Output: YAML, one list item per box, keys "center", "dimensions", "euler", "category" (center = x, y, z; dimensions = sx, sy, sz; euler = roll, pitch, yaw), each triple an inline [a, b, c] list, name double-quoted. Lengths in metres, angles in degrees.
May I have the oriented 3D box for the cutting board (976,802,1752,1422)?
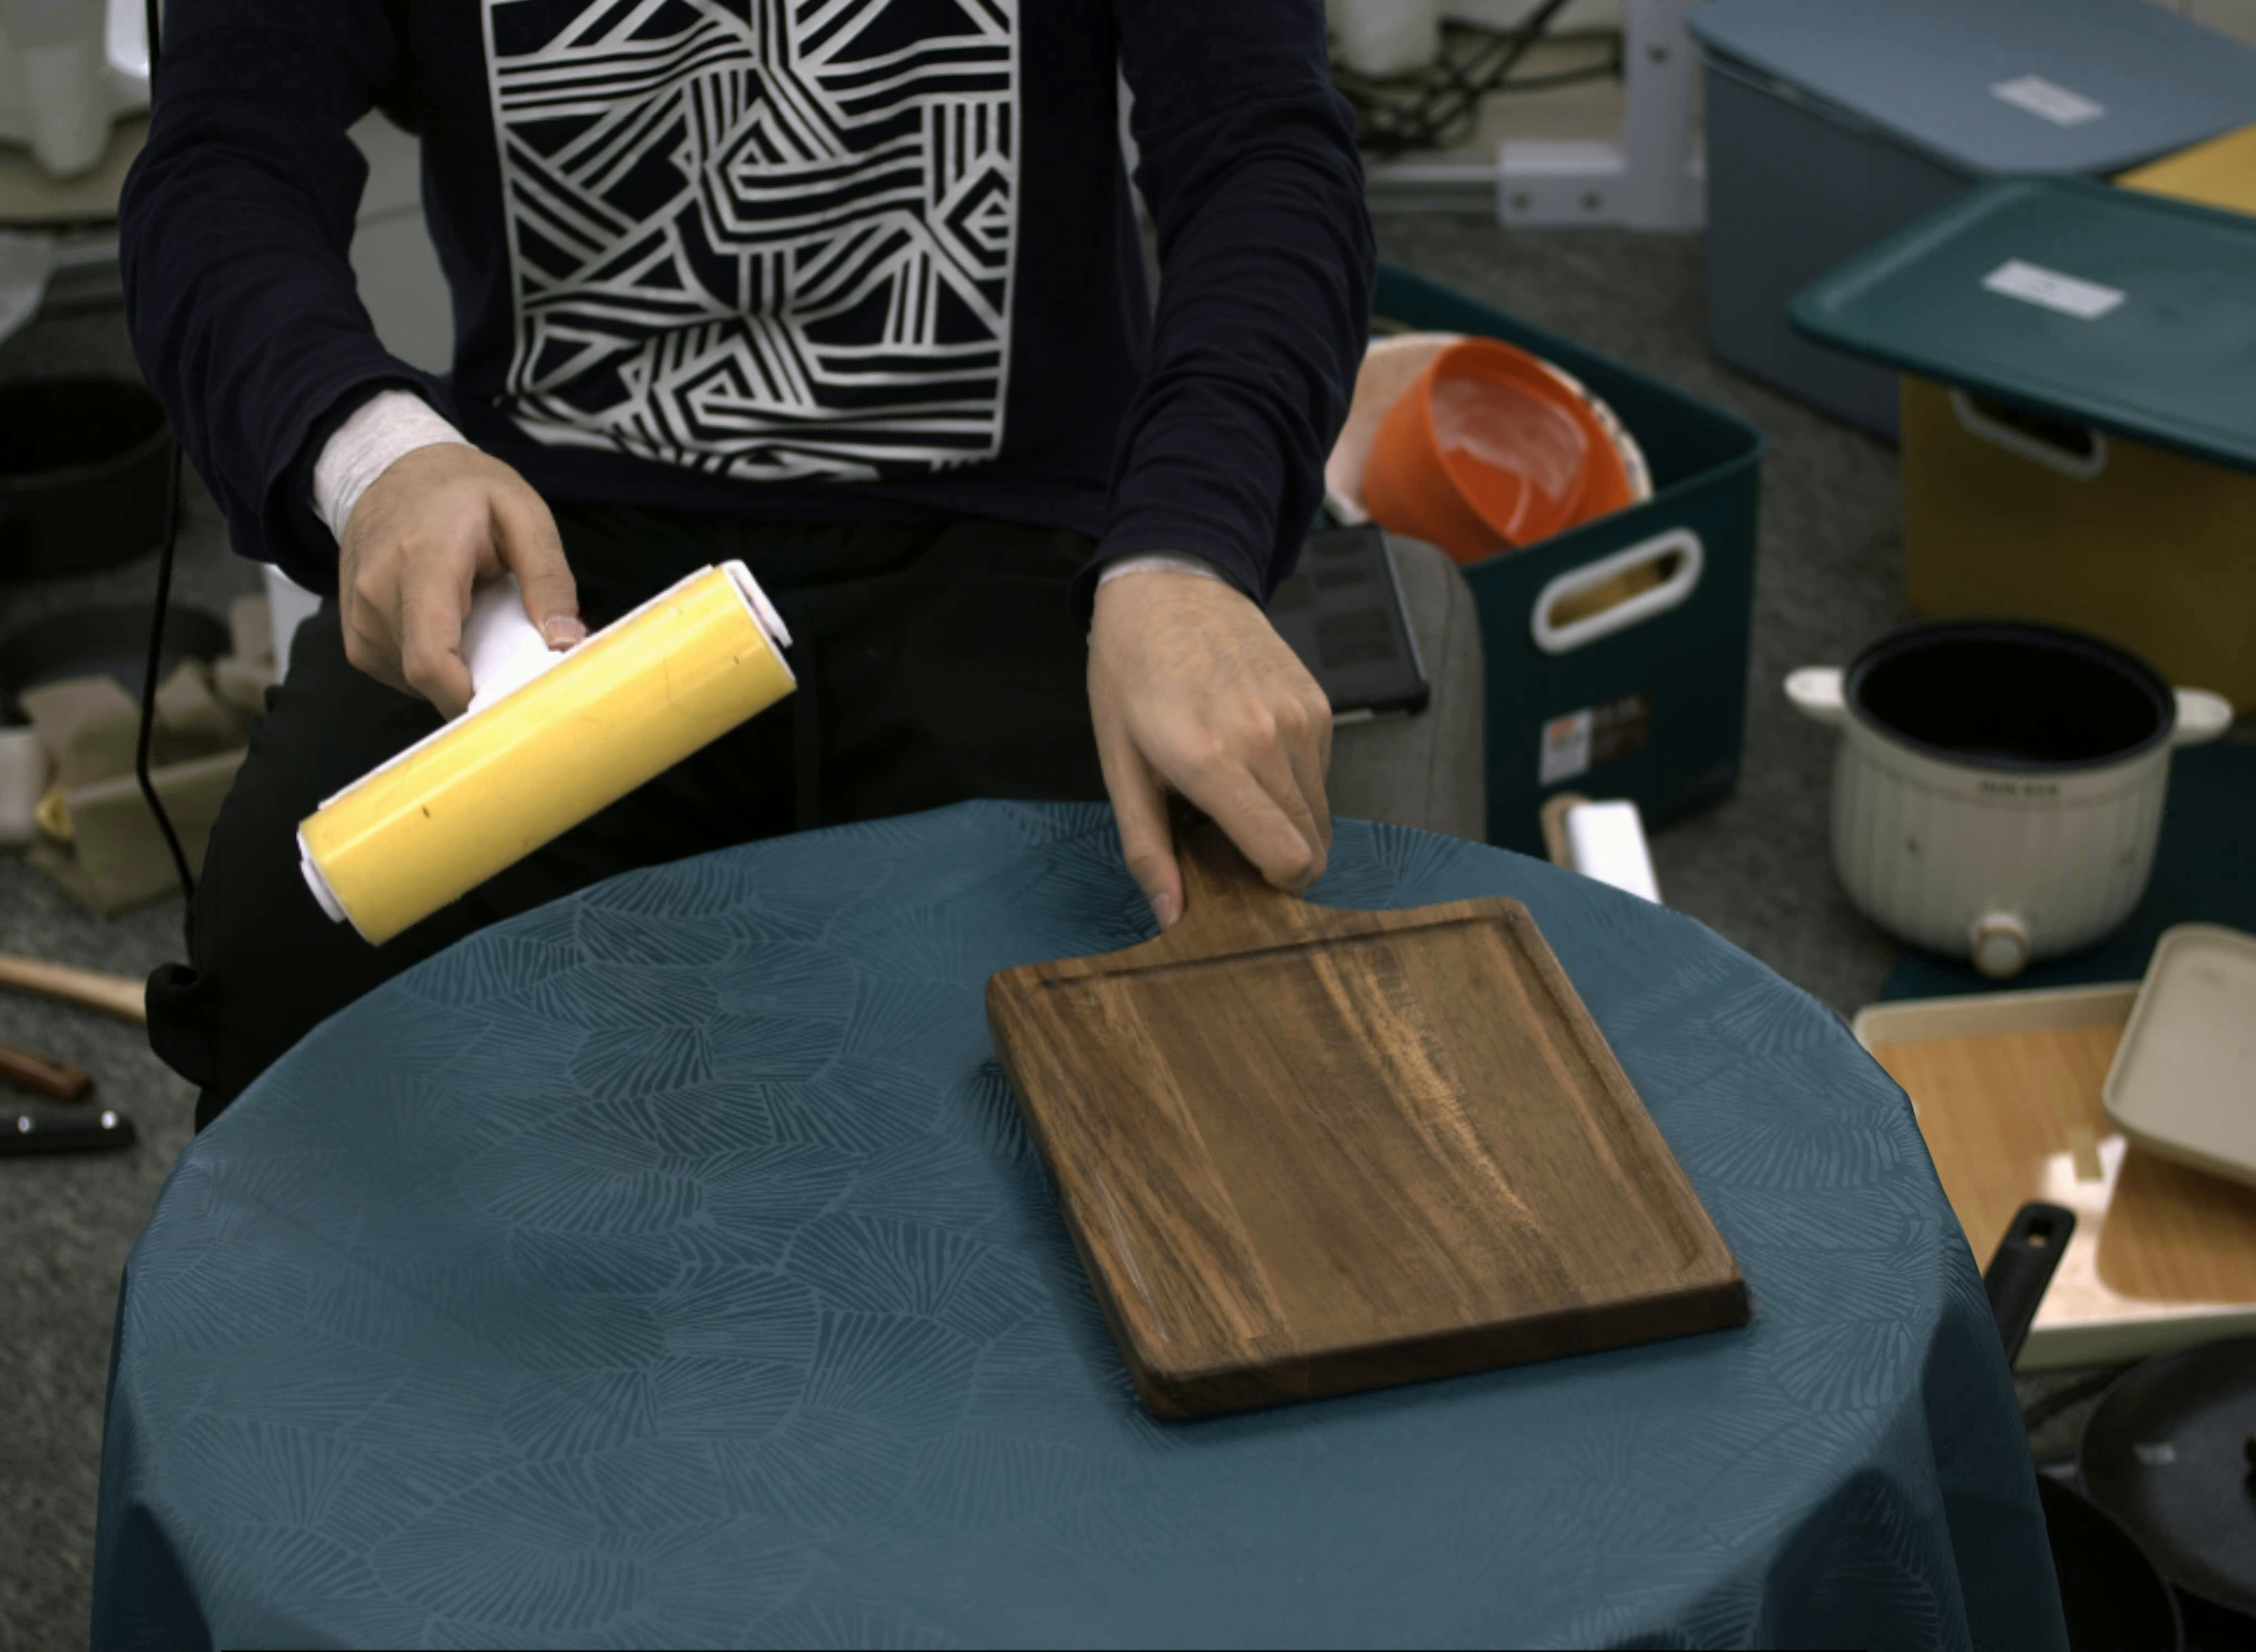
- center: [0.060, 0.082, 1.896]
  dimensions: [0.201, 0.023, 0.356]
  euler: [-8, 29, -12]
  category: "cutting board"

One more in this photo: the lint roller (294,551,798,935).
- center: [-0.211, -0.058, 1.868]
  dimensions: [0.174, 0.051, 0.194]
  euler: [-32, 36, -4]
  category: "lint roller"
